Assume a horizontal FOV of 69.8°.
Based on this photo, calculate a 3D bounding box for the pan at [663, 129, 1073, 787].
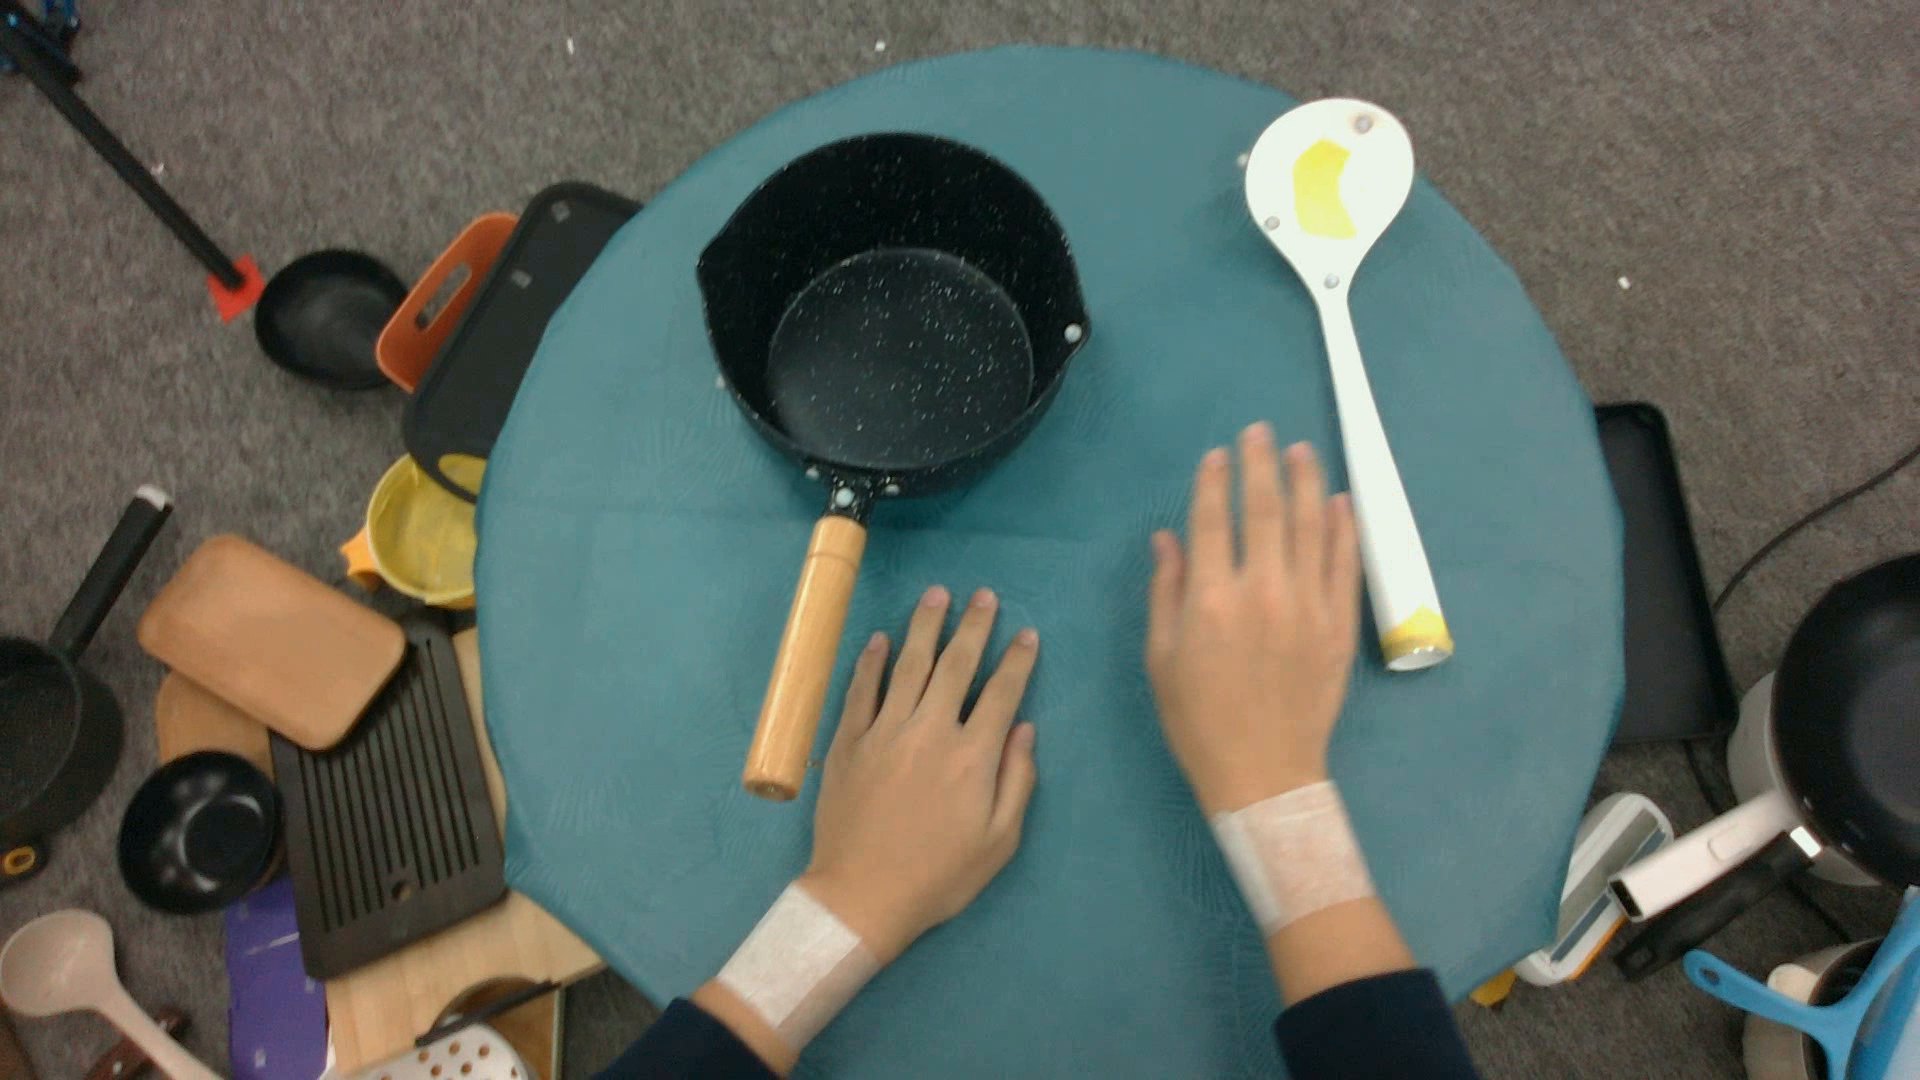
[{"bbox_3d":[-0.057,-0.040,0.680,0.207,0.108,0.344,9,70,2],"label":"pan"}]

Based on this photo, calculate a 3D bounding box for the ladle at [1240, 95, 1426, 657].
[{"bbox_3d":[0.205,-0.089,0.721,0.090,0.069,0.293,-3,71,-9],"label":"ladle"}]
